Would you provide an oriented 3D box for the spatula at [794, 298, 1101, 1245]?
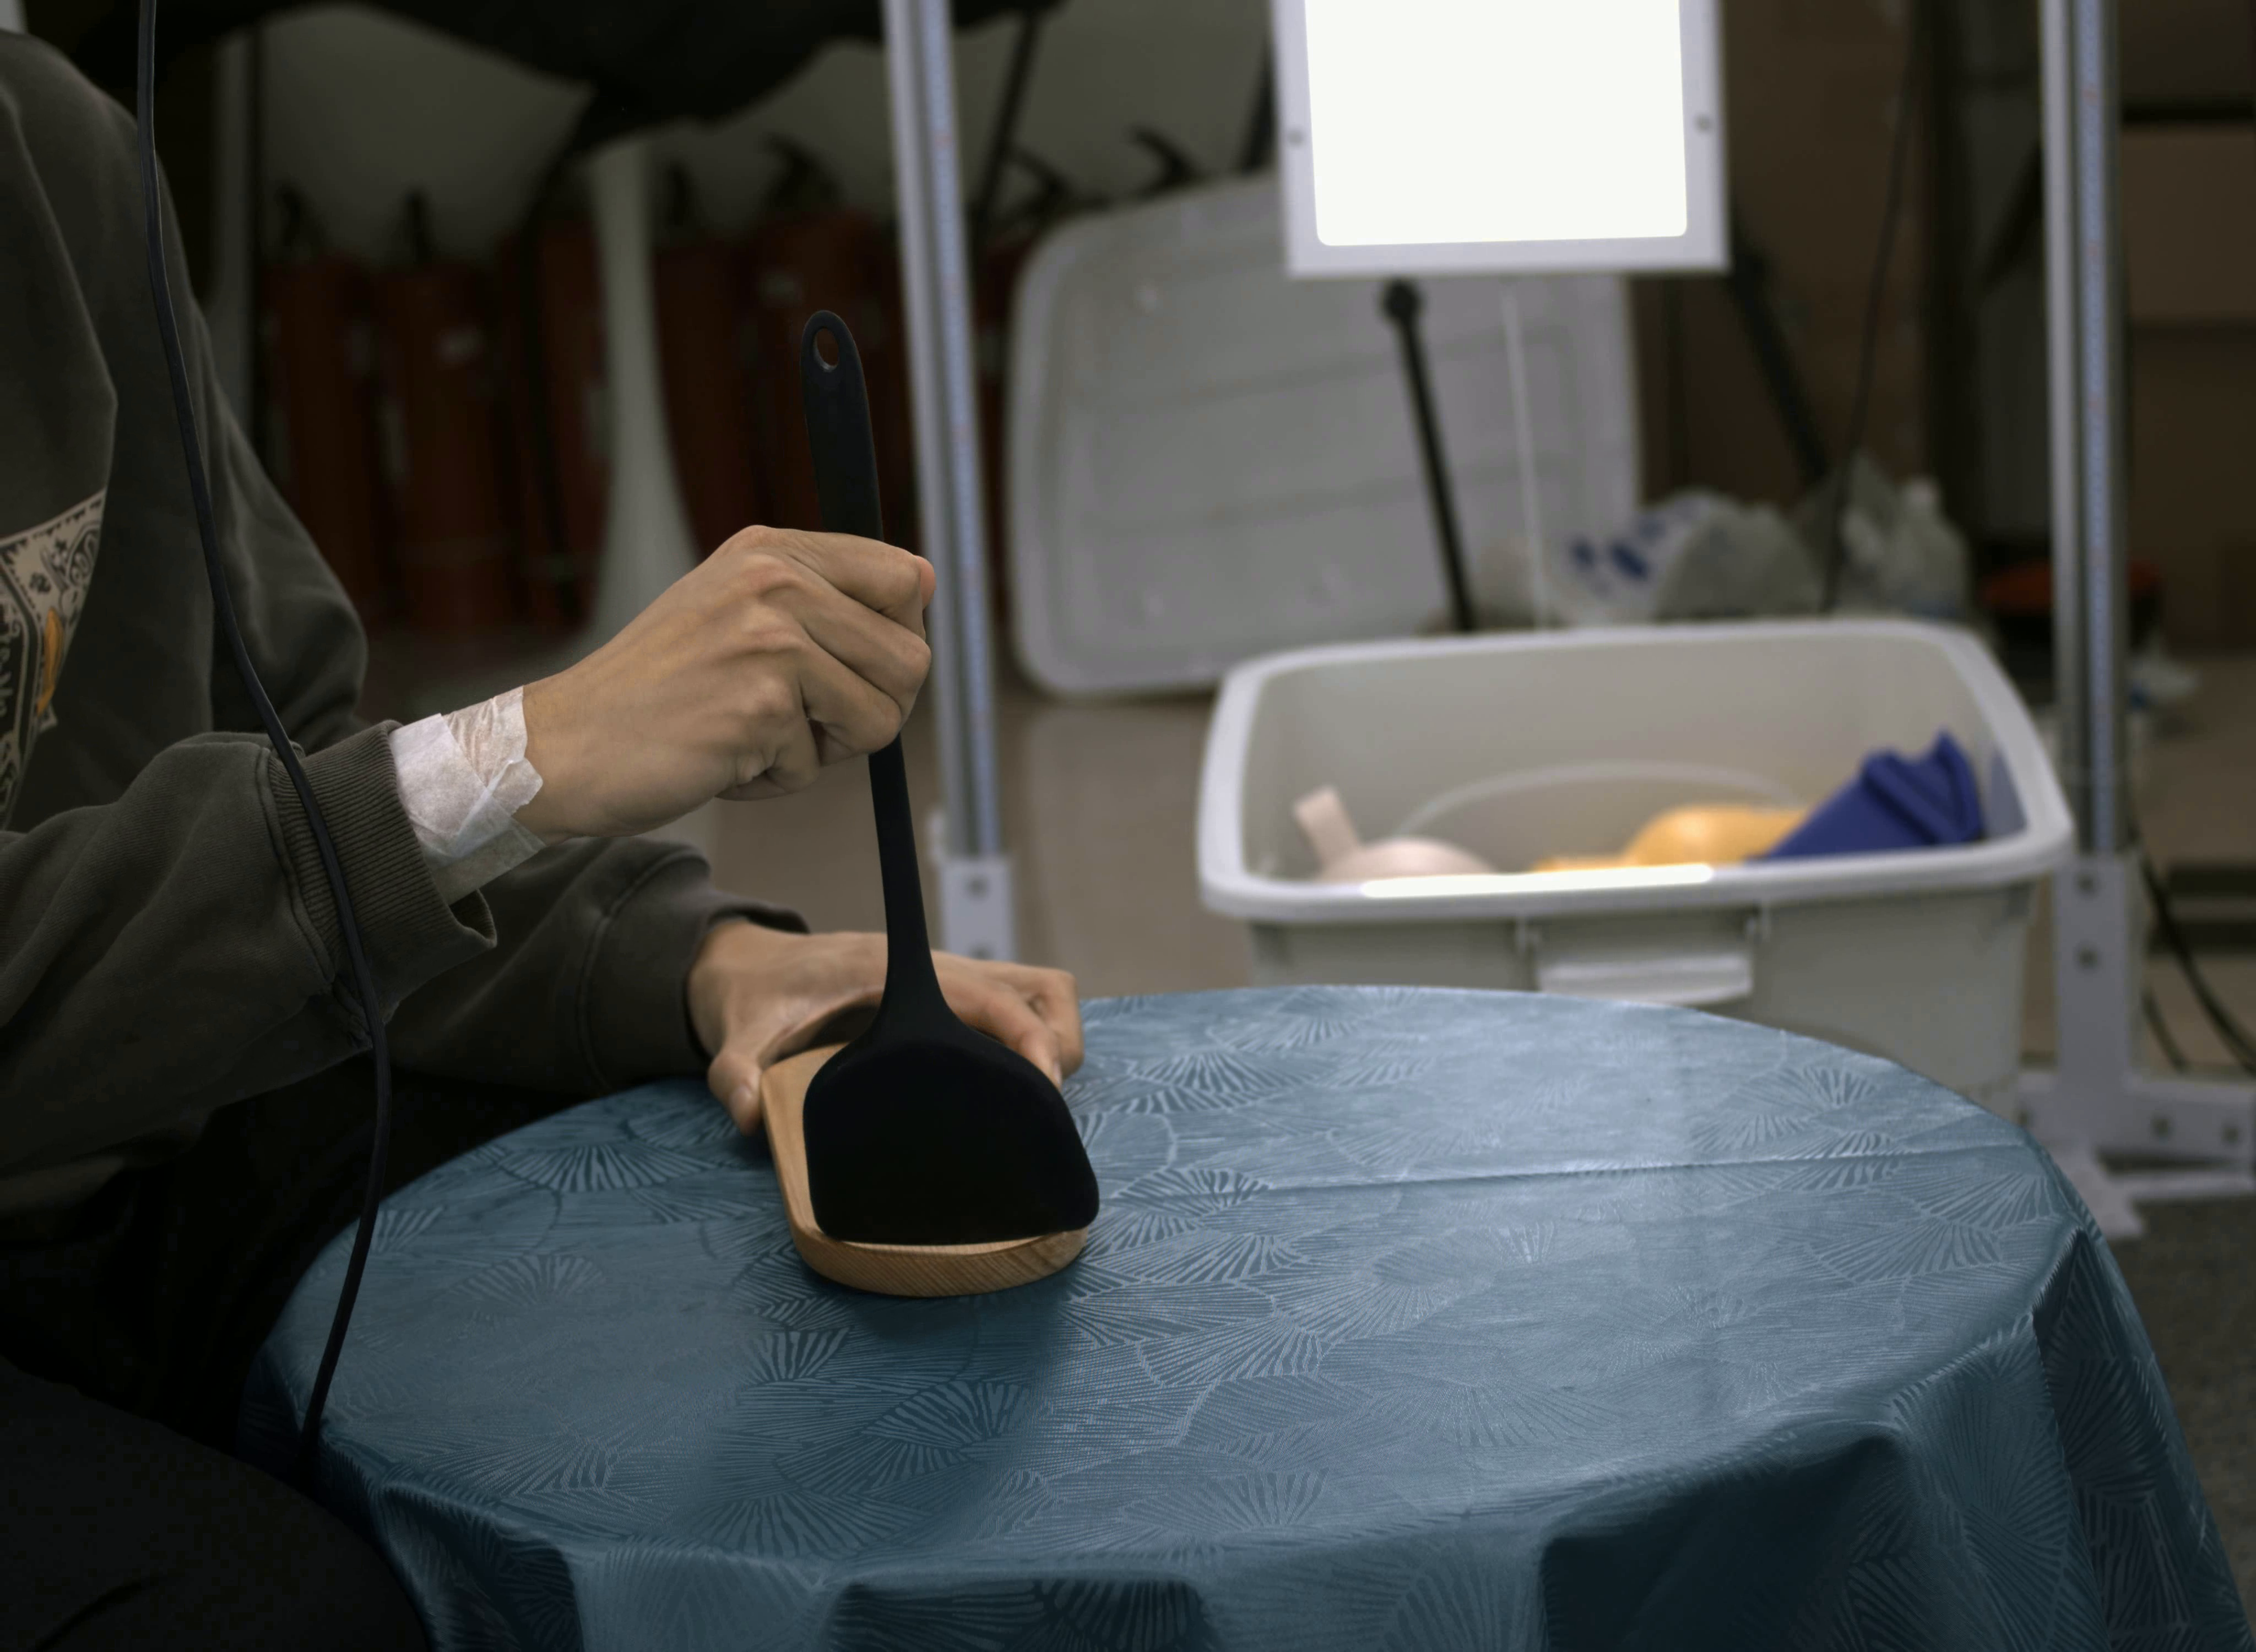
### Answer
[{"bbox_3d":[-0.075,-0.012,1.758,0.100,0.327,0.040,-4,17,10],"label":"spatula"}]

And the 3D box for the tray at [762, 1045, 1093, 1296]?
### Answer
[{"bbox_3d":[-0.071,0.117,1.907,0.101,0.020,0.232,-3,17,-7],"label":"tray"}]
